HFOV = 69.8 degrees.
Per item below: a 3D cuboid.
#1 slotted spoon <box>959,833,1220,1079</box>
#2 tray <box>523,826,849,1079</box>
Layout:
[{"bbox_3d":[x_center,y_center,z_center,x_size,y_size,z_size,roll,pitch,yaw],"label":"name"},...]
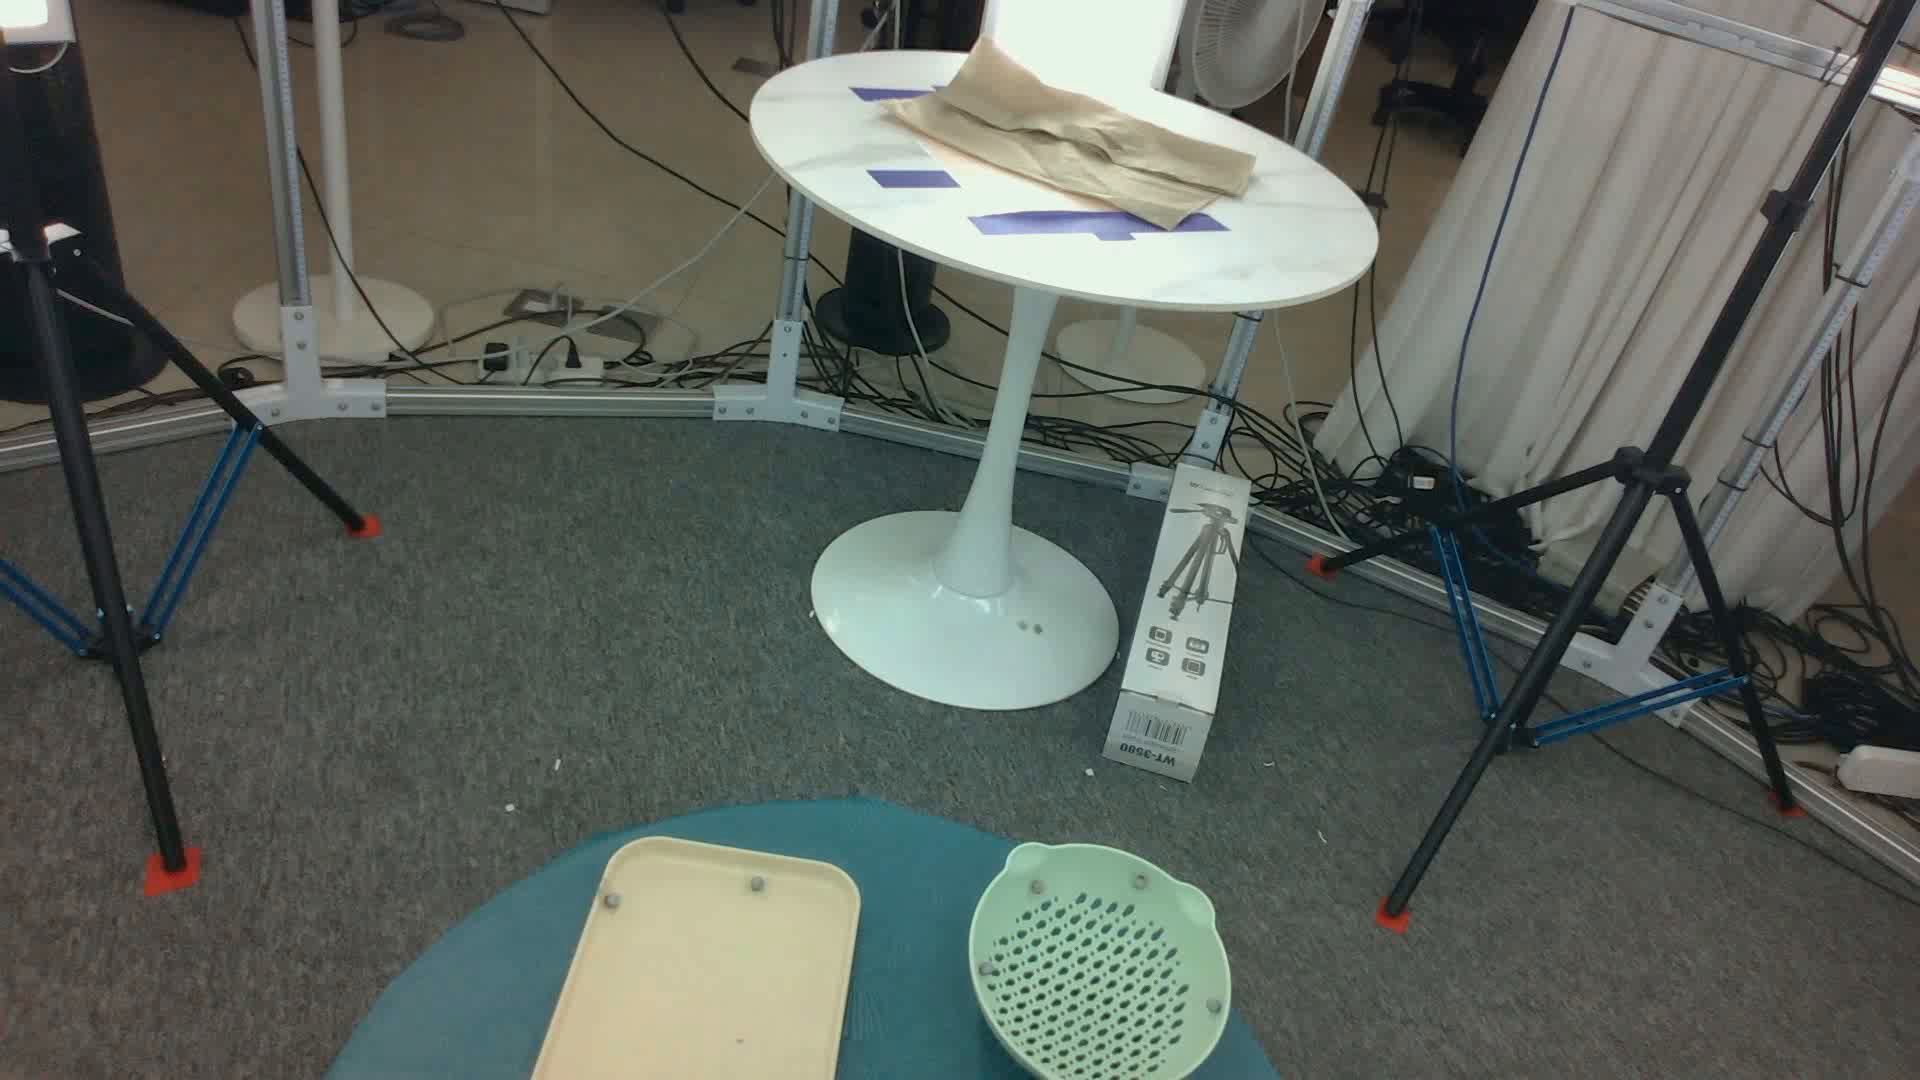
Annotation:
[{"bbox_3d":[0.061,0.331,0.807,0.169,0.075,0.360,14,35,3],"label":"slotted spoon"},{"bbox_3d":[-0.162,0.279,0.847,0.171,0.017,0.241,10,36,-4],"label":"tray"}]
